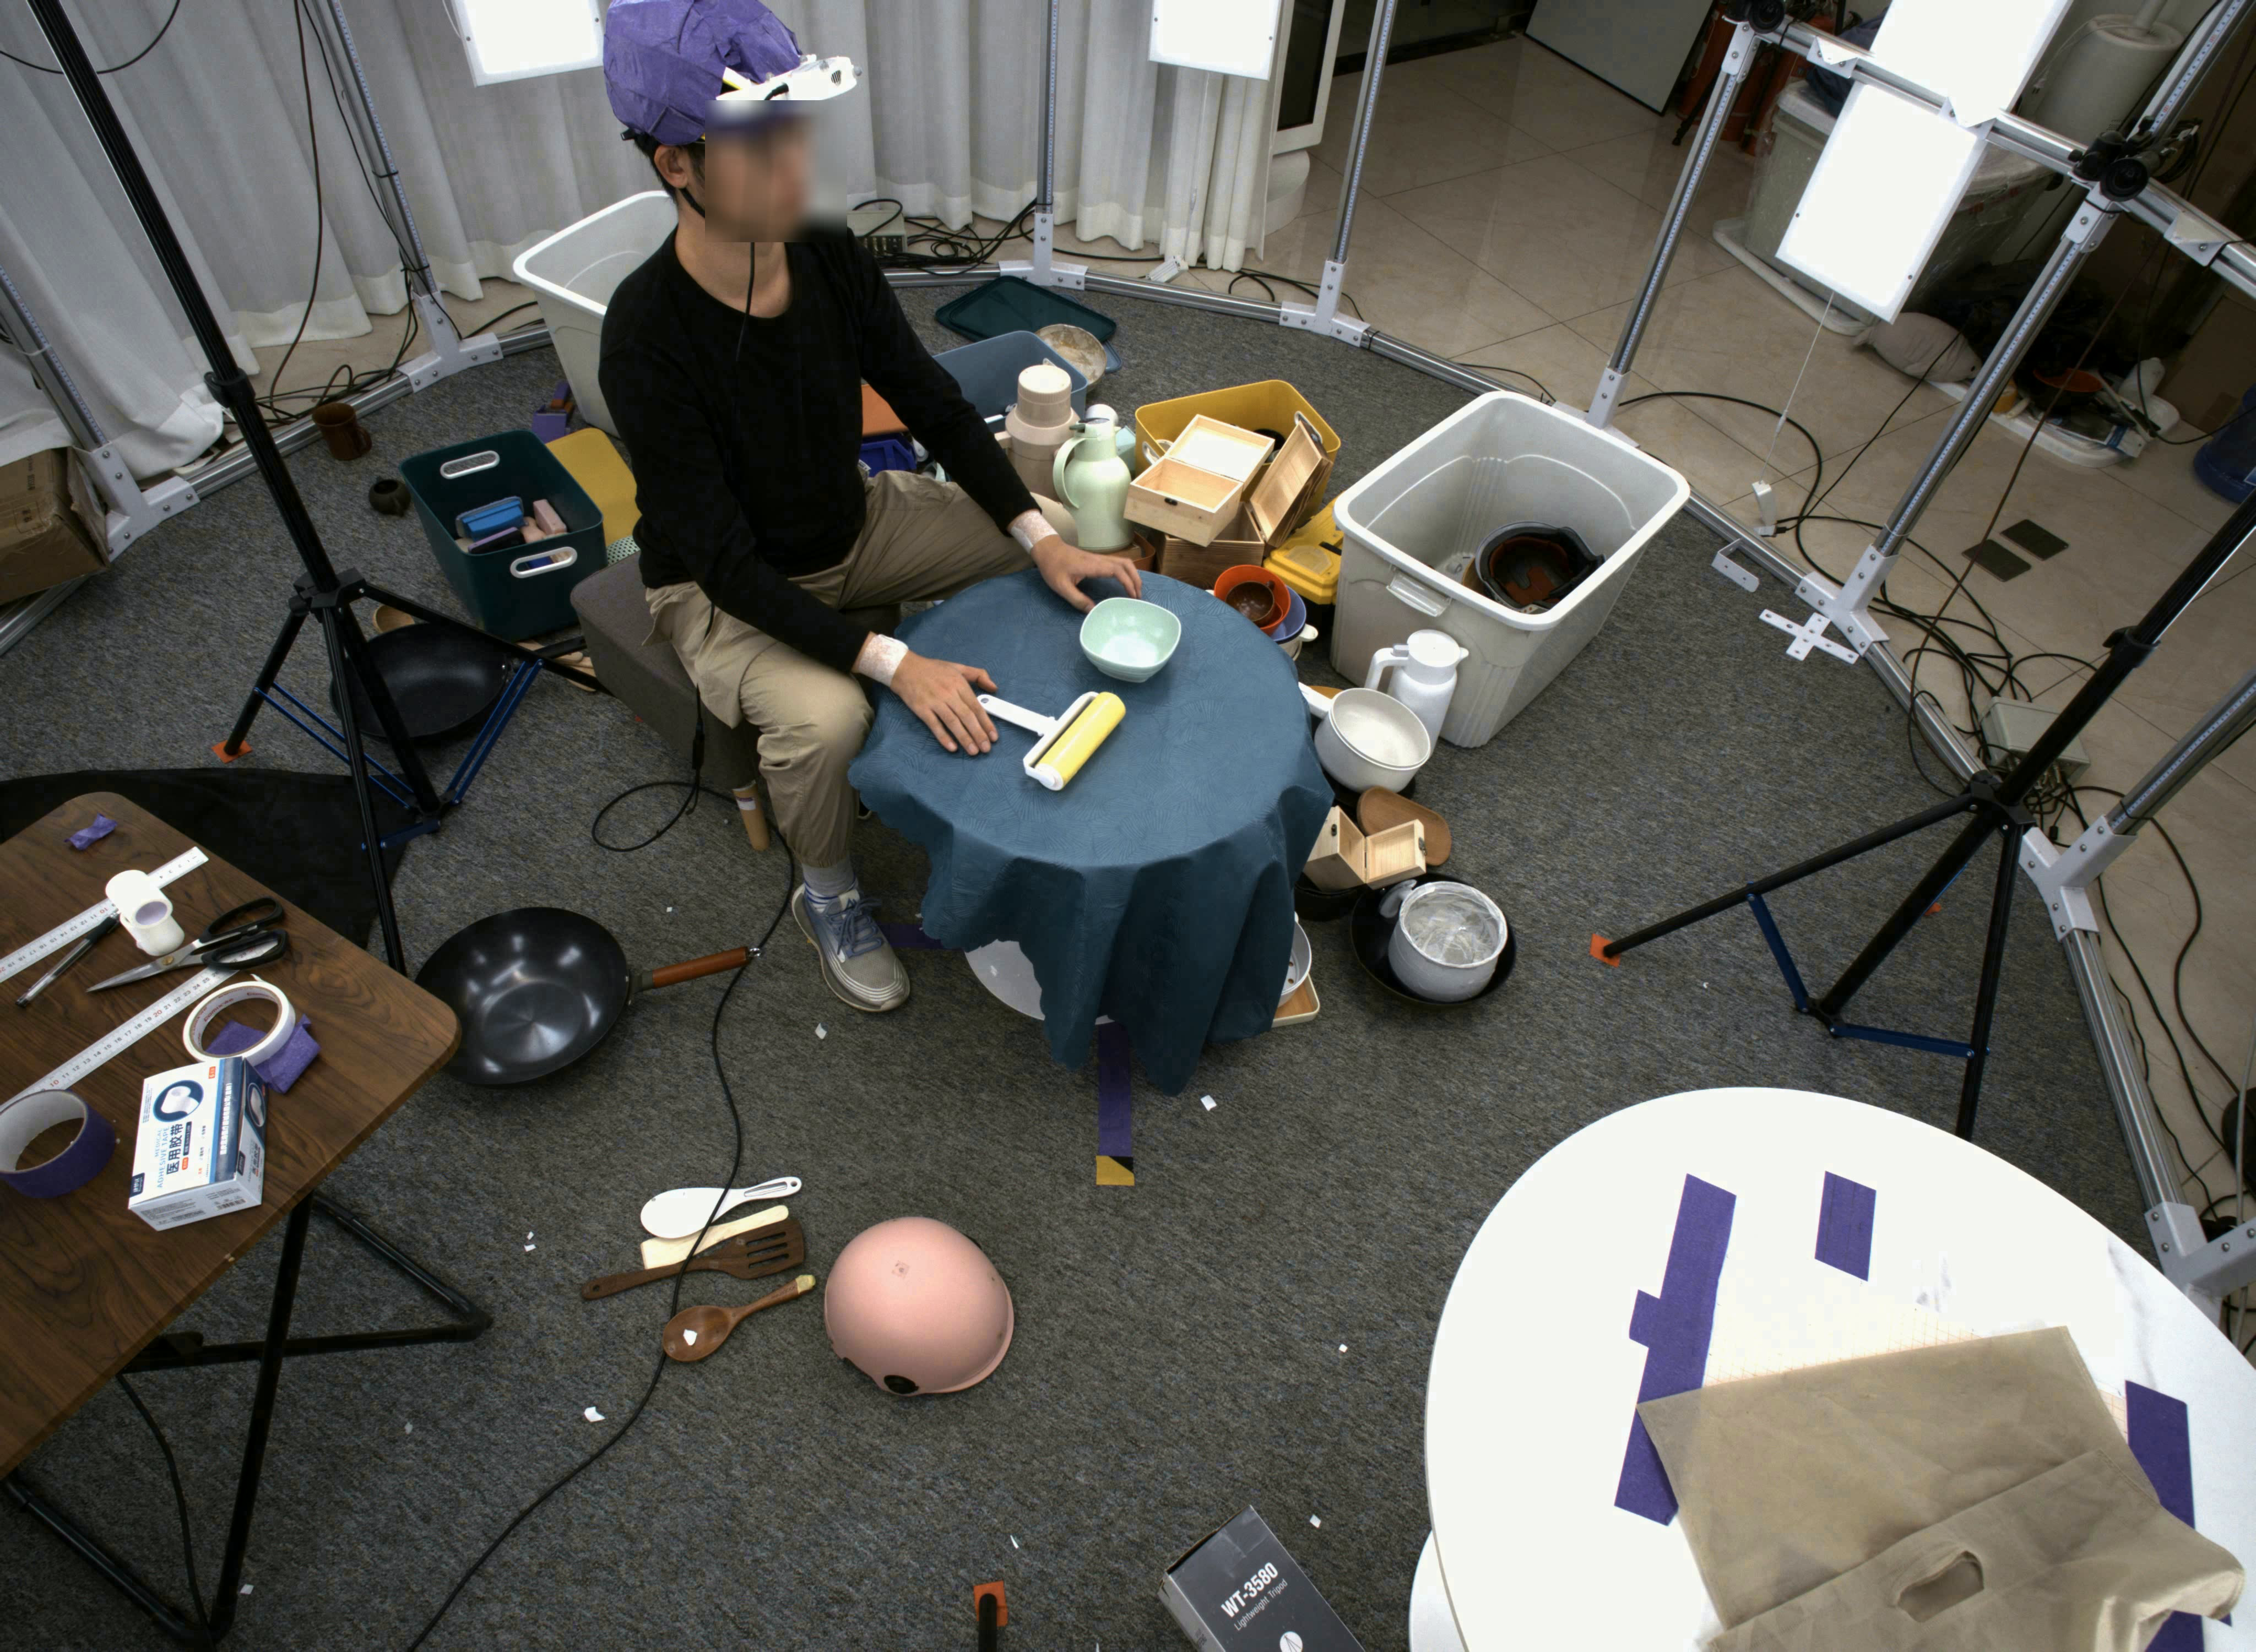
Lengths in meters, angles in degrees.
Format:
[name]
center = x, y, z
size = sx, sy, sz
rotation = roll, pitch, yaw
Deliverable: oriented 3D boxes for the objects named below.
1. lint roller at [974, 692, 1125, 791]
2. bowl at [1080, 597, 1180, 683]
[lint roller]
center = -0.126, -0.146, 1.754
size = 0.193, 0.050, 0.177
rotation = 27, 52, 13
[bowl]
center = 0.001, -0.261, 1.860
size = 0.151, 0.057, 0.155
rotation = 3, 50, -3
